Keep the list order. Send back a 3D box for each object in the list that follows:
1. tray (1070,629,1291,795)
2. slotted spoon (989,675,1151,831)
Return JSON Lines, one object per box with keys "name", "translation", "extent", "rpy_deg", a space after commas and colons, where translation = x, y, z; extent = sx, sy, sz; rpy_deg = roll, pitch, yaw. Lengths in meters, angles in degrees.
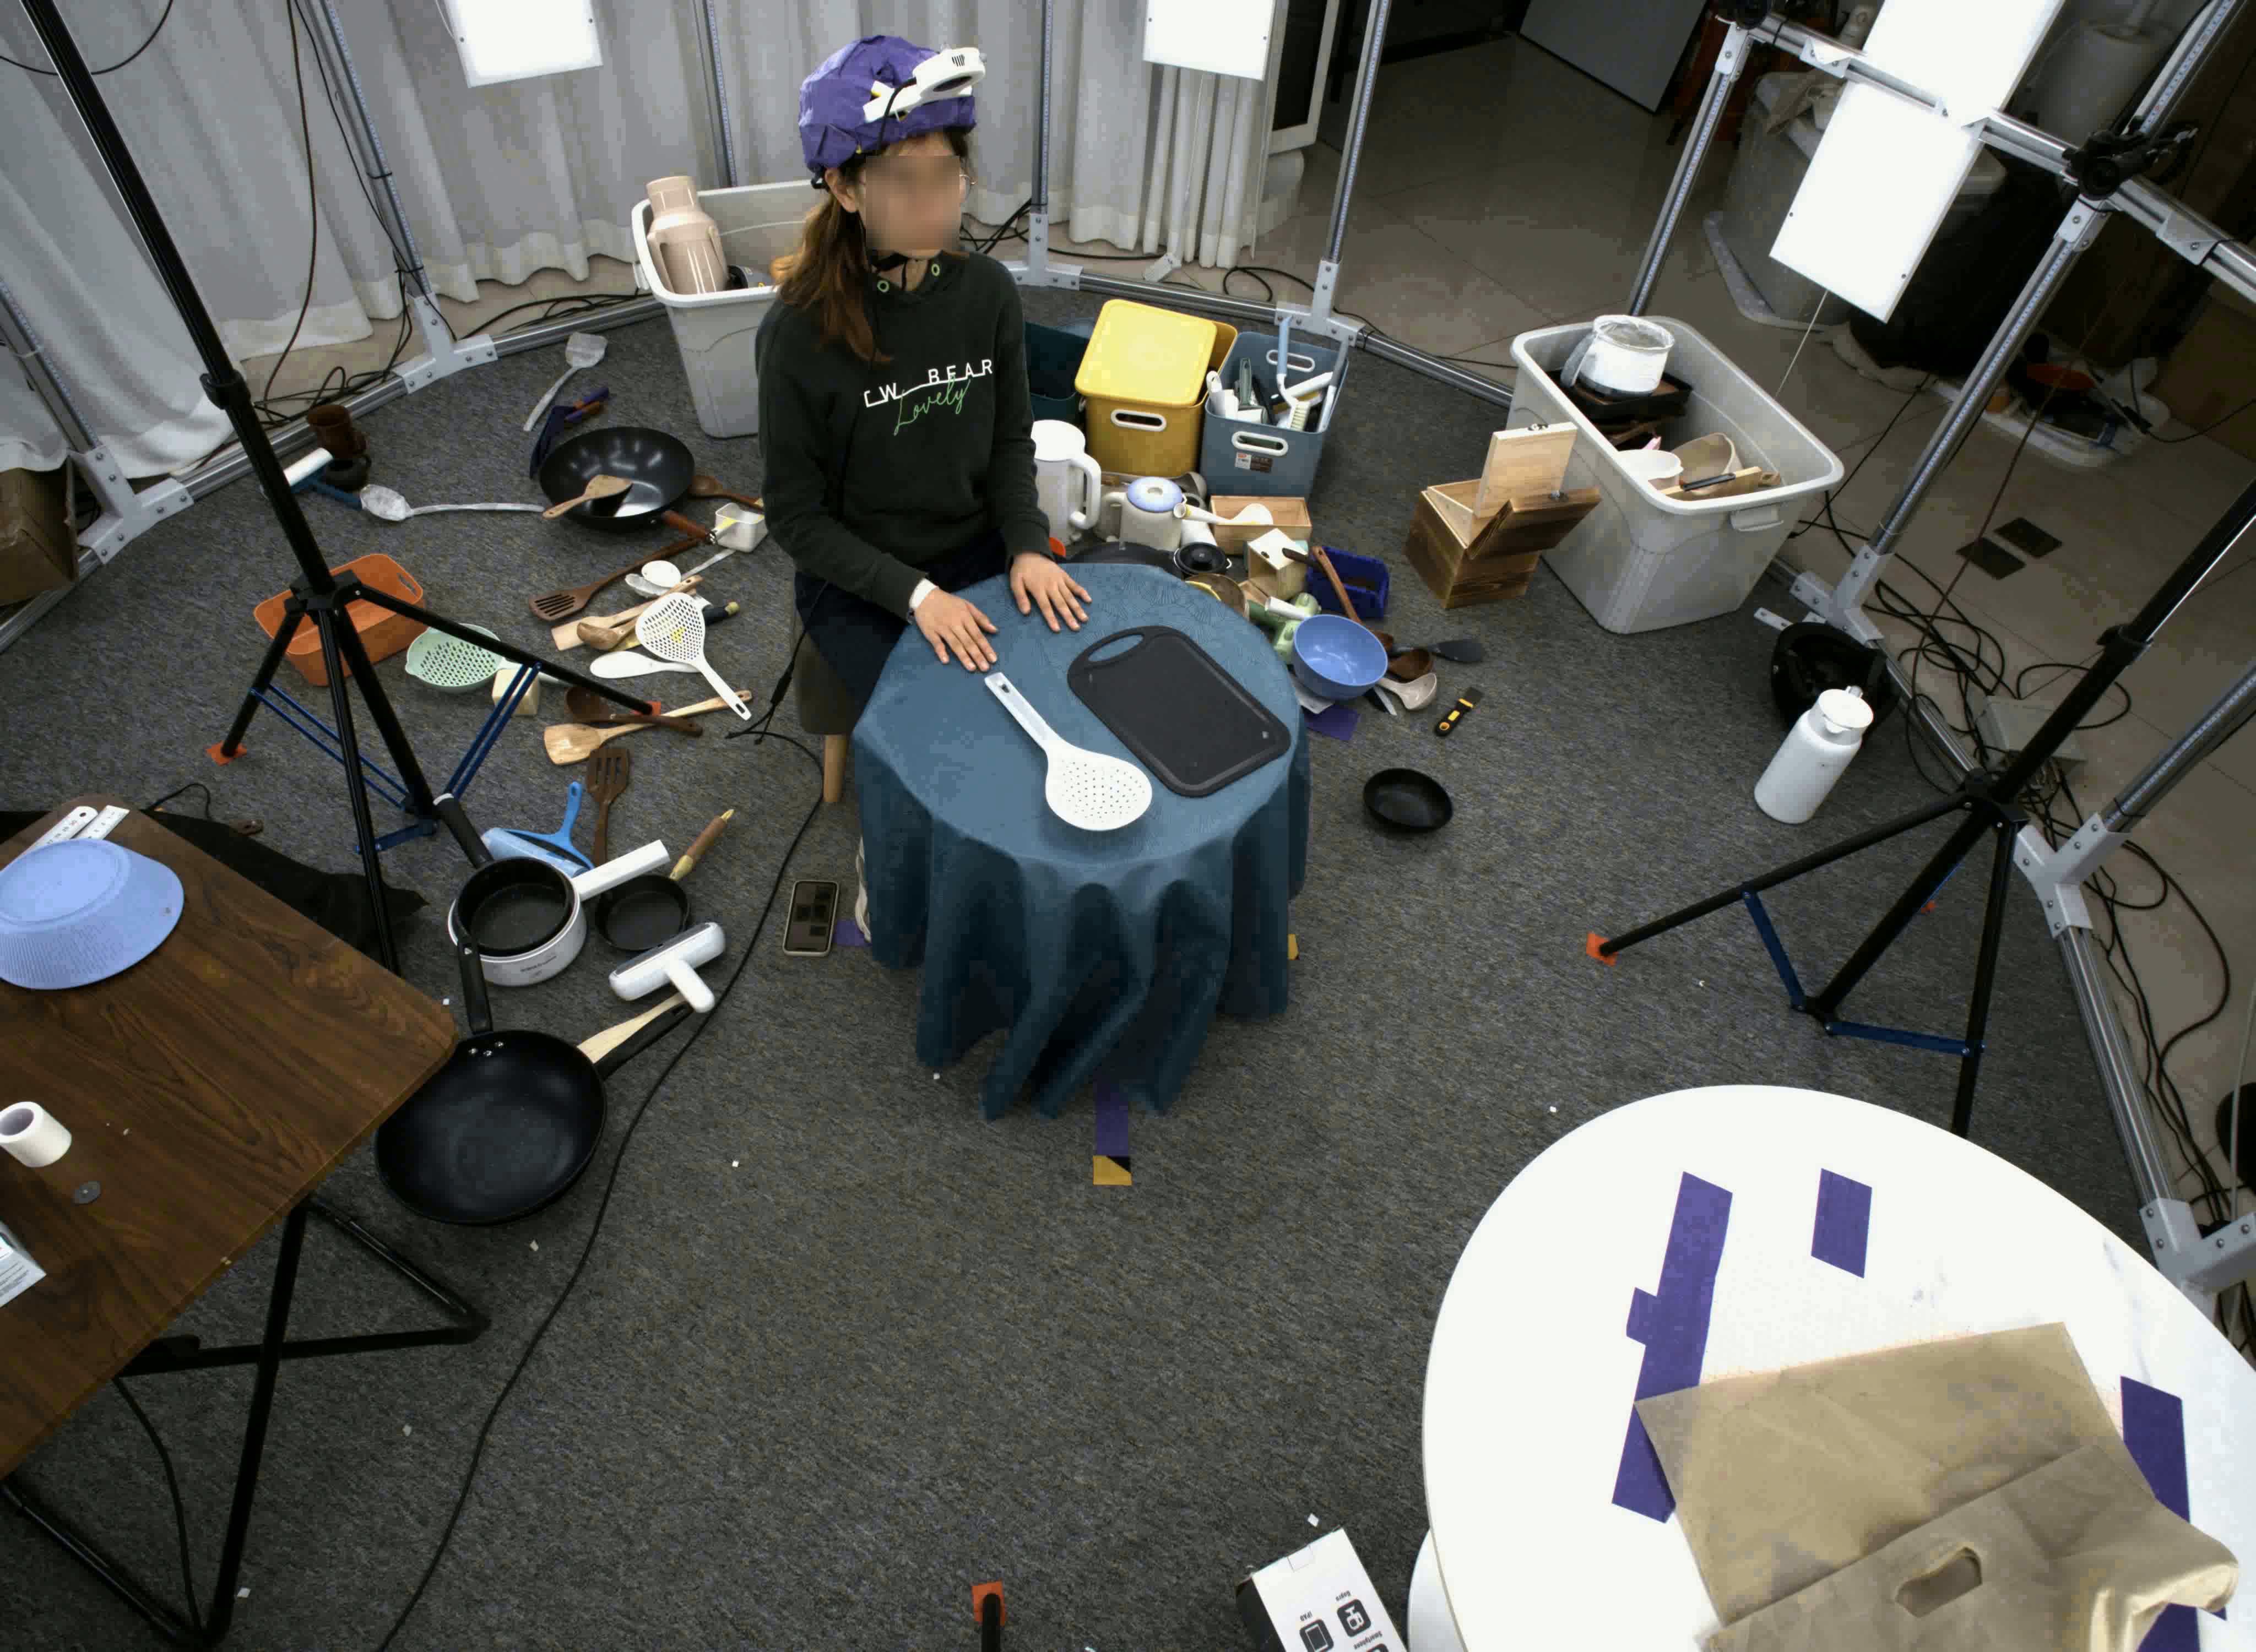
{"name": "tray", "translation": [0.067, -0.175, 1.836], "extent": [0.212, 0.009, 0.331], "rpy_deg": [-27, 55, -25]}
{"name": "slotted spoon", "translation": [-0.096, -0.104, 1.739], "extent": [0.136, 0.044, 0.357], "rpy_deg": [-22, 53, -24]}
